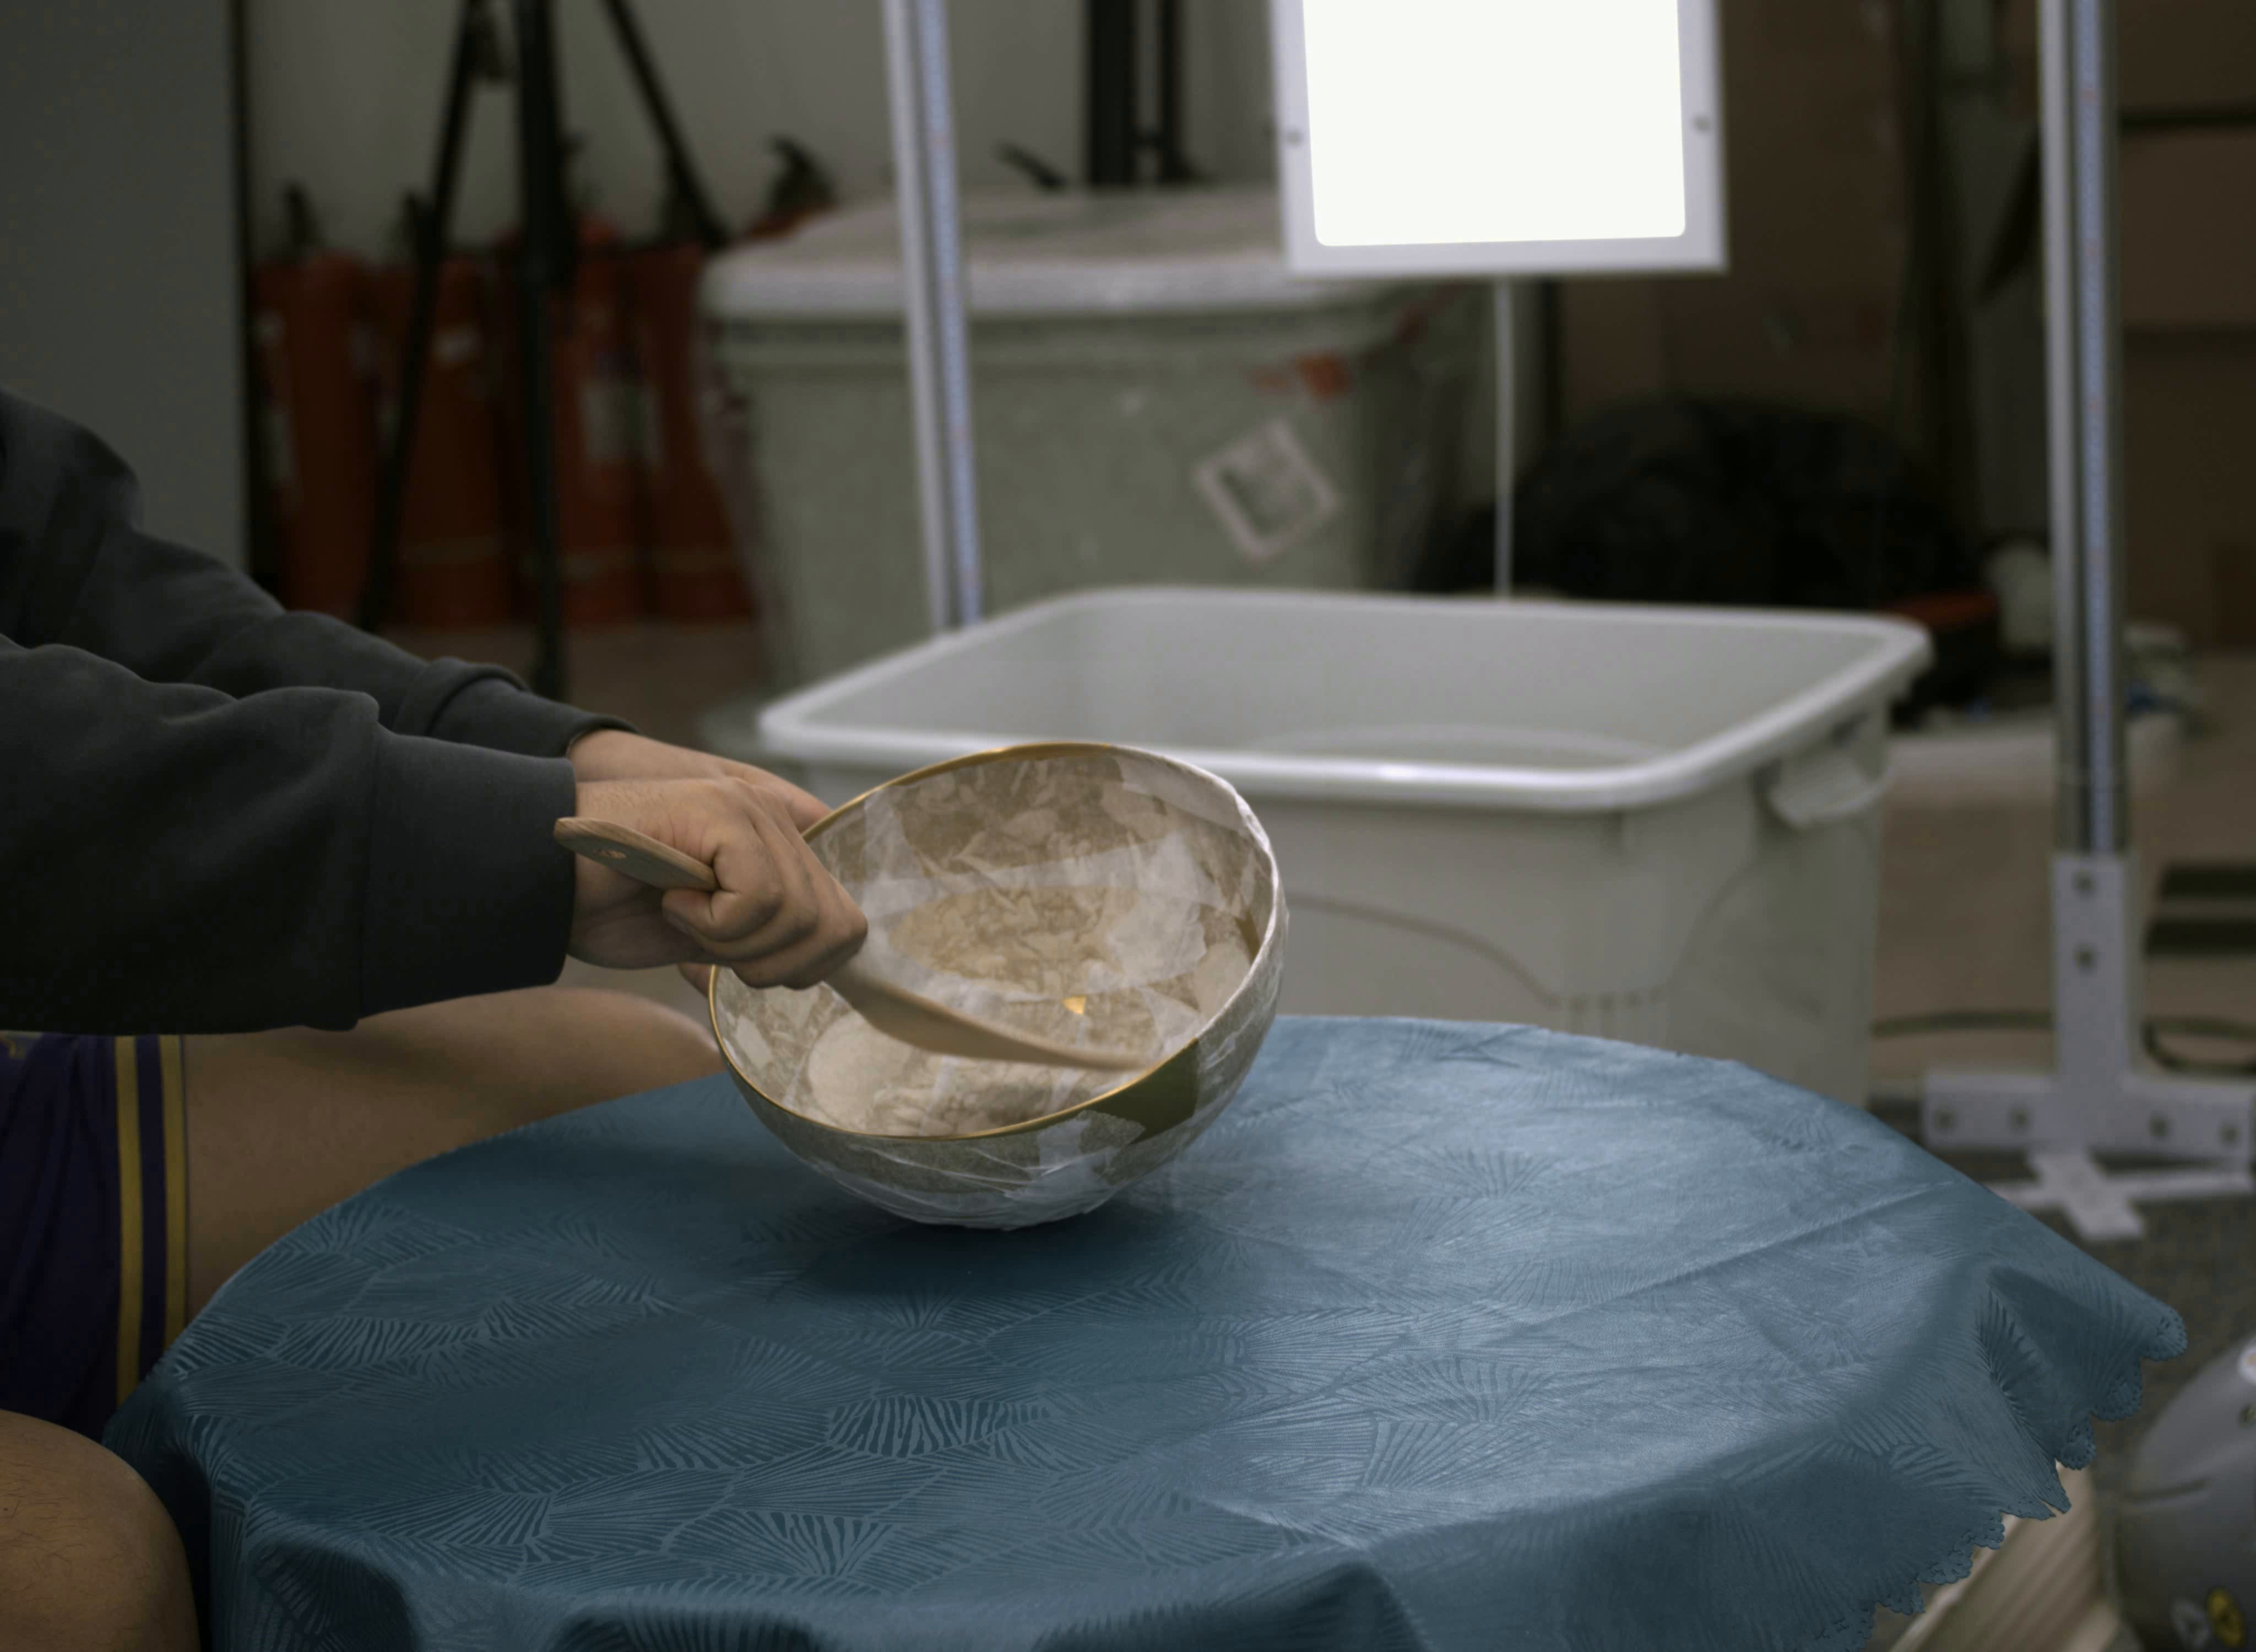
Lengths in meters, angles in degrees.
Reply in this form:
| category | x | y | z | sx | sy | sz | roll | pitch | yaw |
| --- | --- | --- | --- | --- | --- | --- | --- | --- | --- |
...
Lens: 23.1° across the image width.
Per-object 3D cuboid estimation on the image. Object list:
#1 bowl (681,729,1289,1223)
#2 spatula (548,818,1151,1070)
| category | x | y | z | sx | sy | sz | roll | pitch | yaw |
| --- | --- | --- | --- | --- | --- | --- | --- | --- | --- |
| bowl | -0.041 | 0.067 | 1.904 | 0.216 | 0.094 | 0.214 | -12 | 40 | 8 |
| spatula | -0.096 | 0.042 | 1.798 | 0.081 | 0.016 | 0.322 | 5 | -15 | 30 |
